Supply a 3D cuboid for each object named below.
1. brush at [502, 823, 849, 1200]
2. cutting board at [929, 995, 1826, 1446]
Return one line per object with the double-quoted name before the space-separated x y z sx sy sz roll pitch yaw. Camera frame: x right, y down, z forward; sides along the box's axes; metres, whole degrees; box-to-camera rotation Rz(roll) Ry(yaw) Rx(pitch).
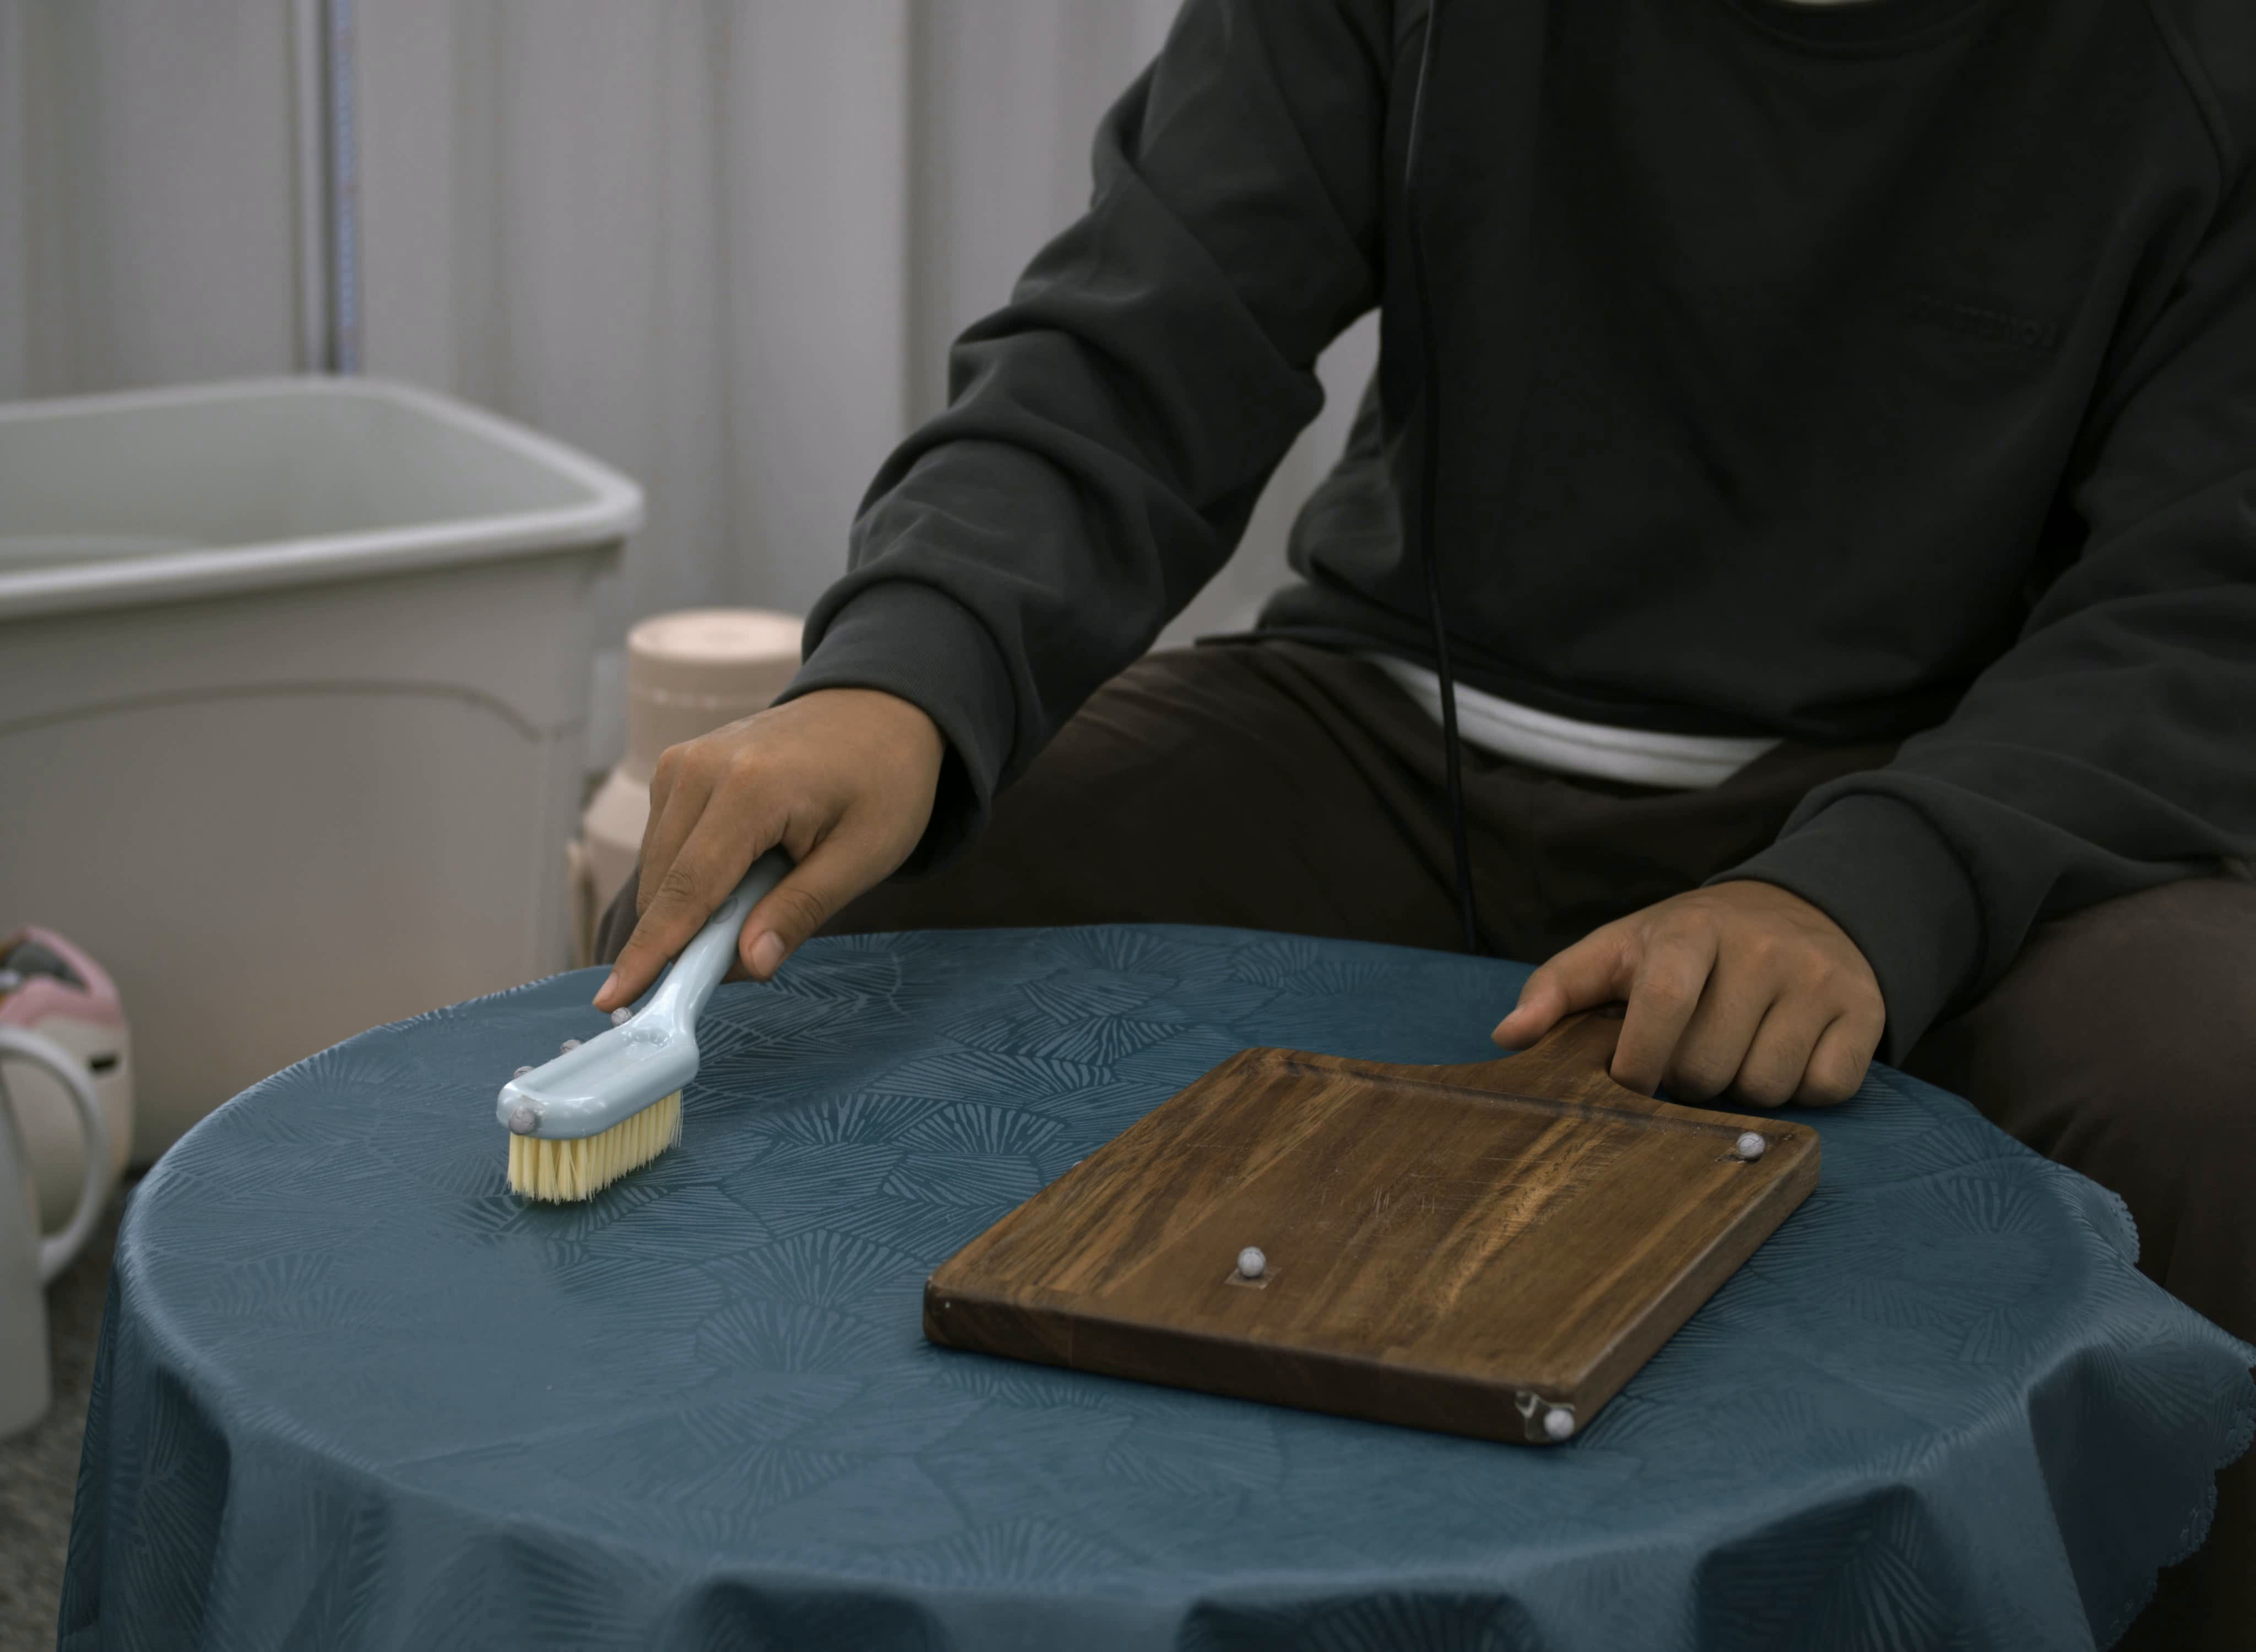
"brush" -0.141 0.057 1.689 0.037 0.050 0.228 7 28 17
"cutting board" 0.100 0.108 1.609 0.199 0.023 0.353 8 17 23
